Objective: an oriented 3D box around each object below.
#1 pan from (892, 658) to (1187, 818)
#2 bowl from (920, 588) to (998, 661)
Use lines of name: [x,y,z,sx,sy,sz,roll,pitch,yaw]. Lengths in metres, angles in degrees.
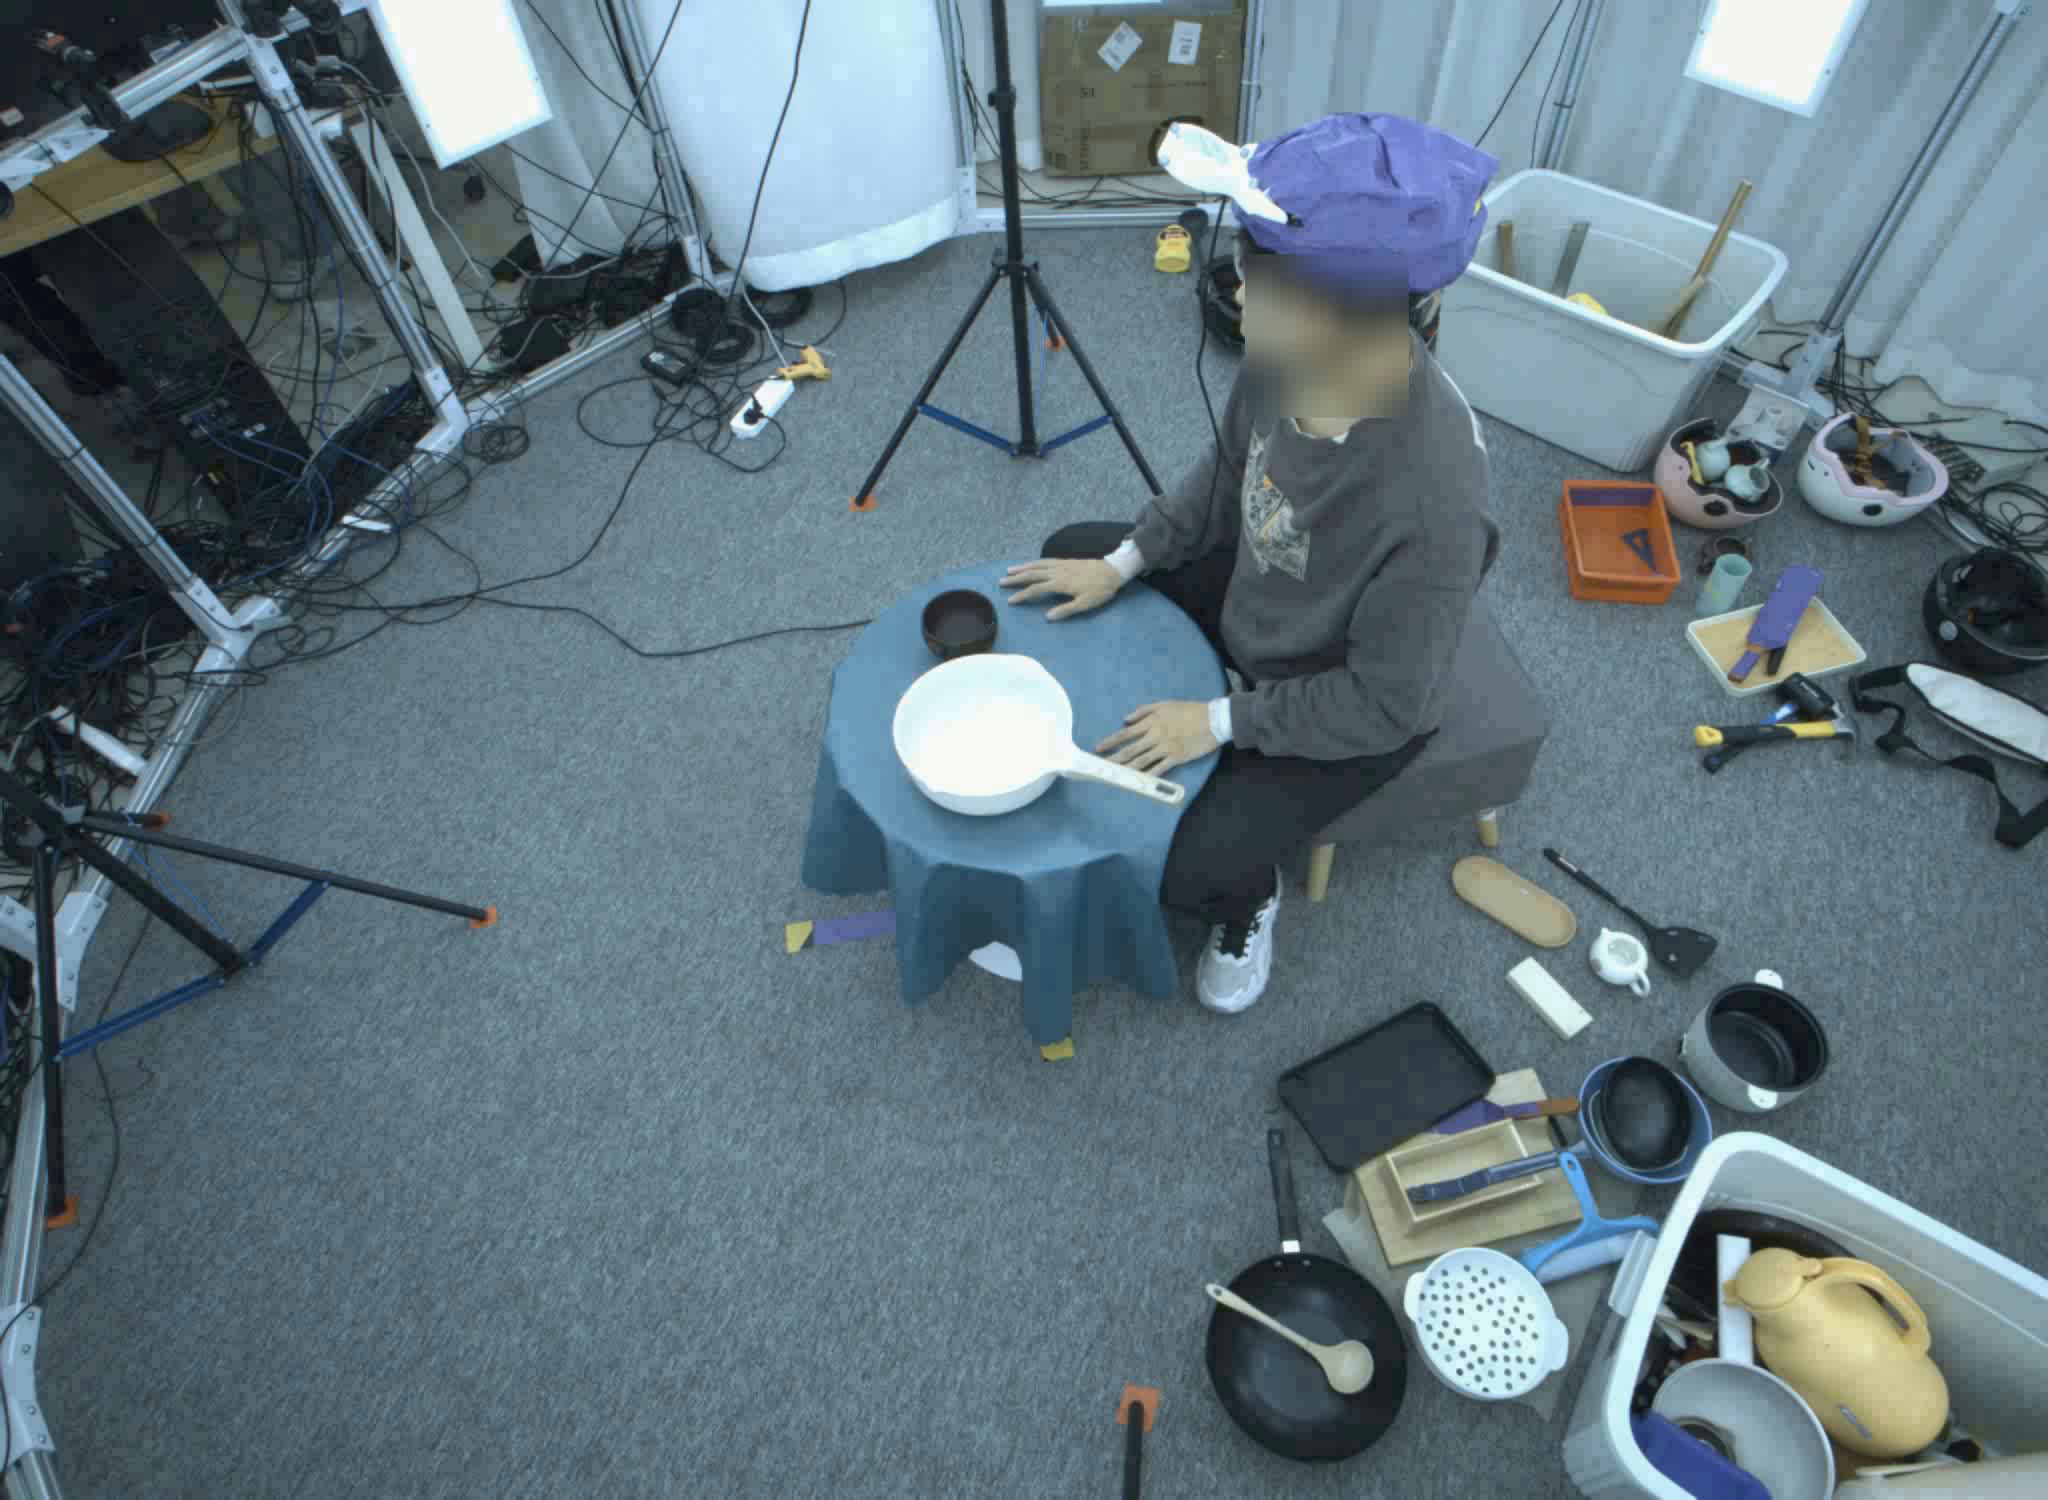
pan: [0.022,0.017,1.711,0.429,0.103,0.264,23,56,17]
bowl: [-0.098,-0.184,1.876,0.118,0.070,0.117,0,53,2]
